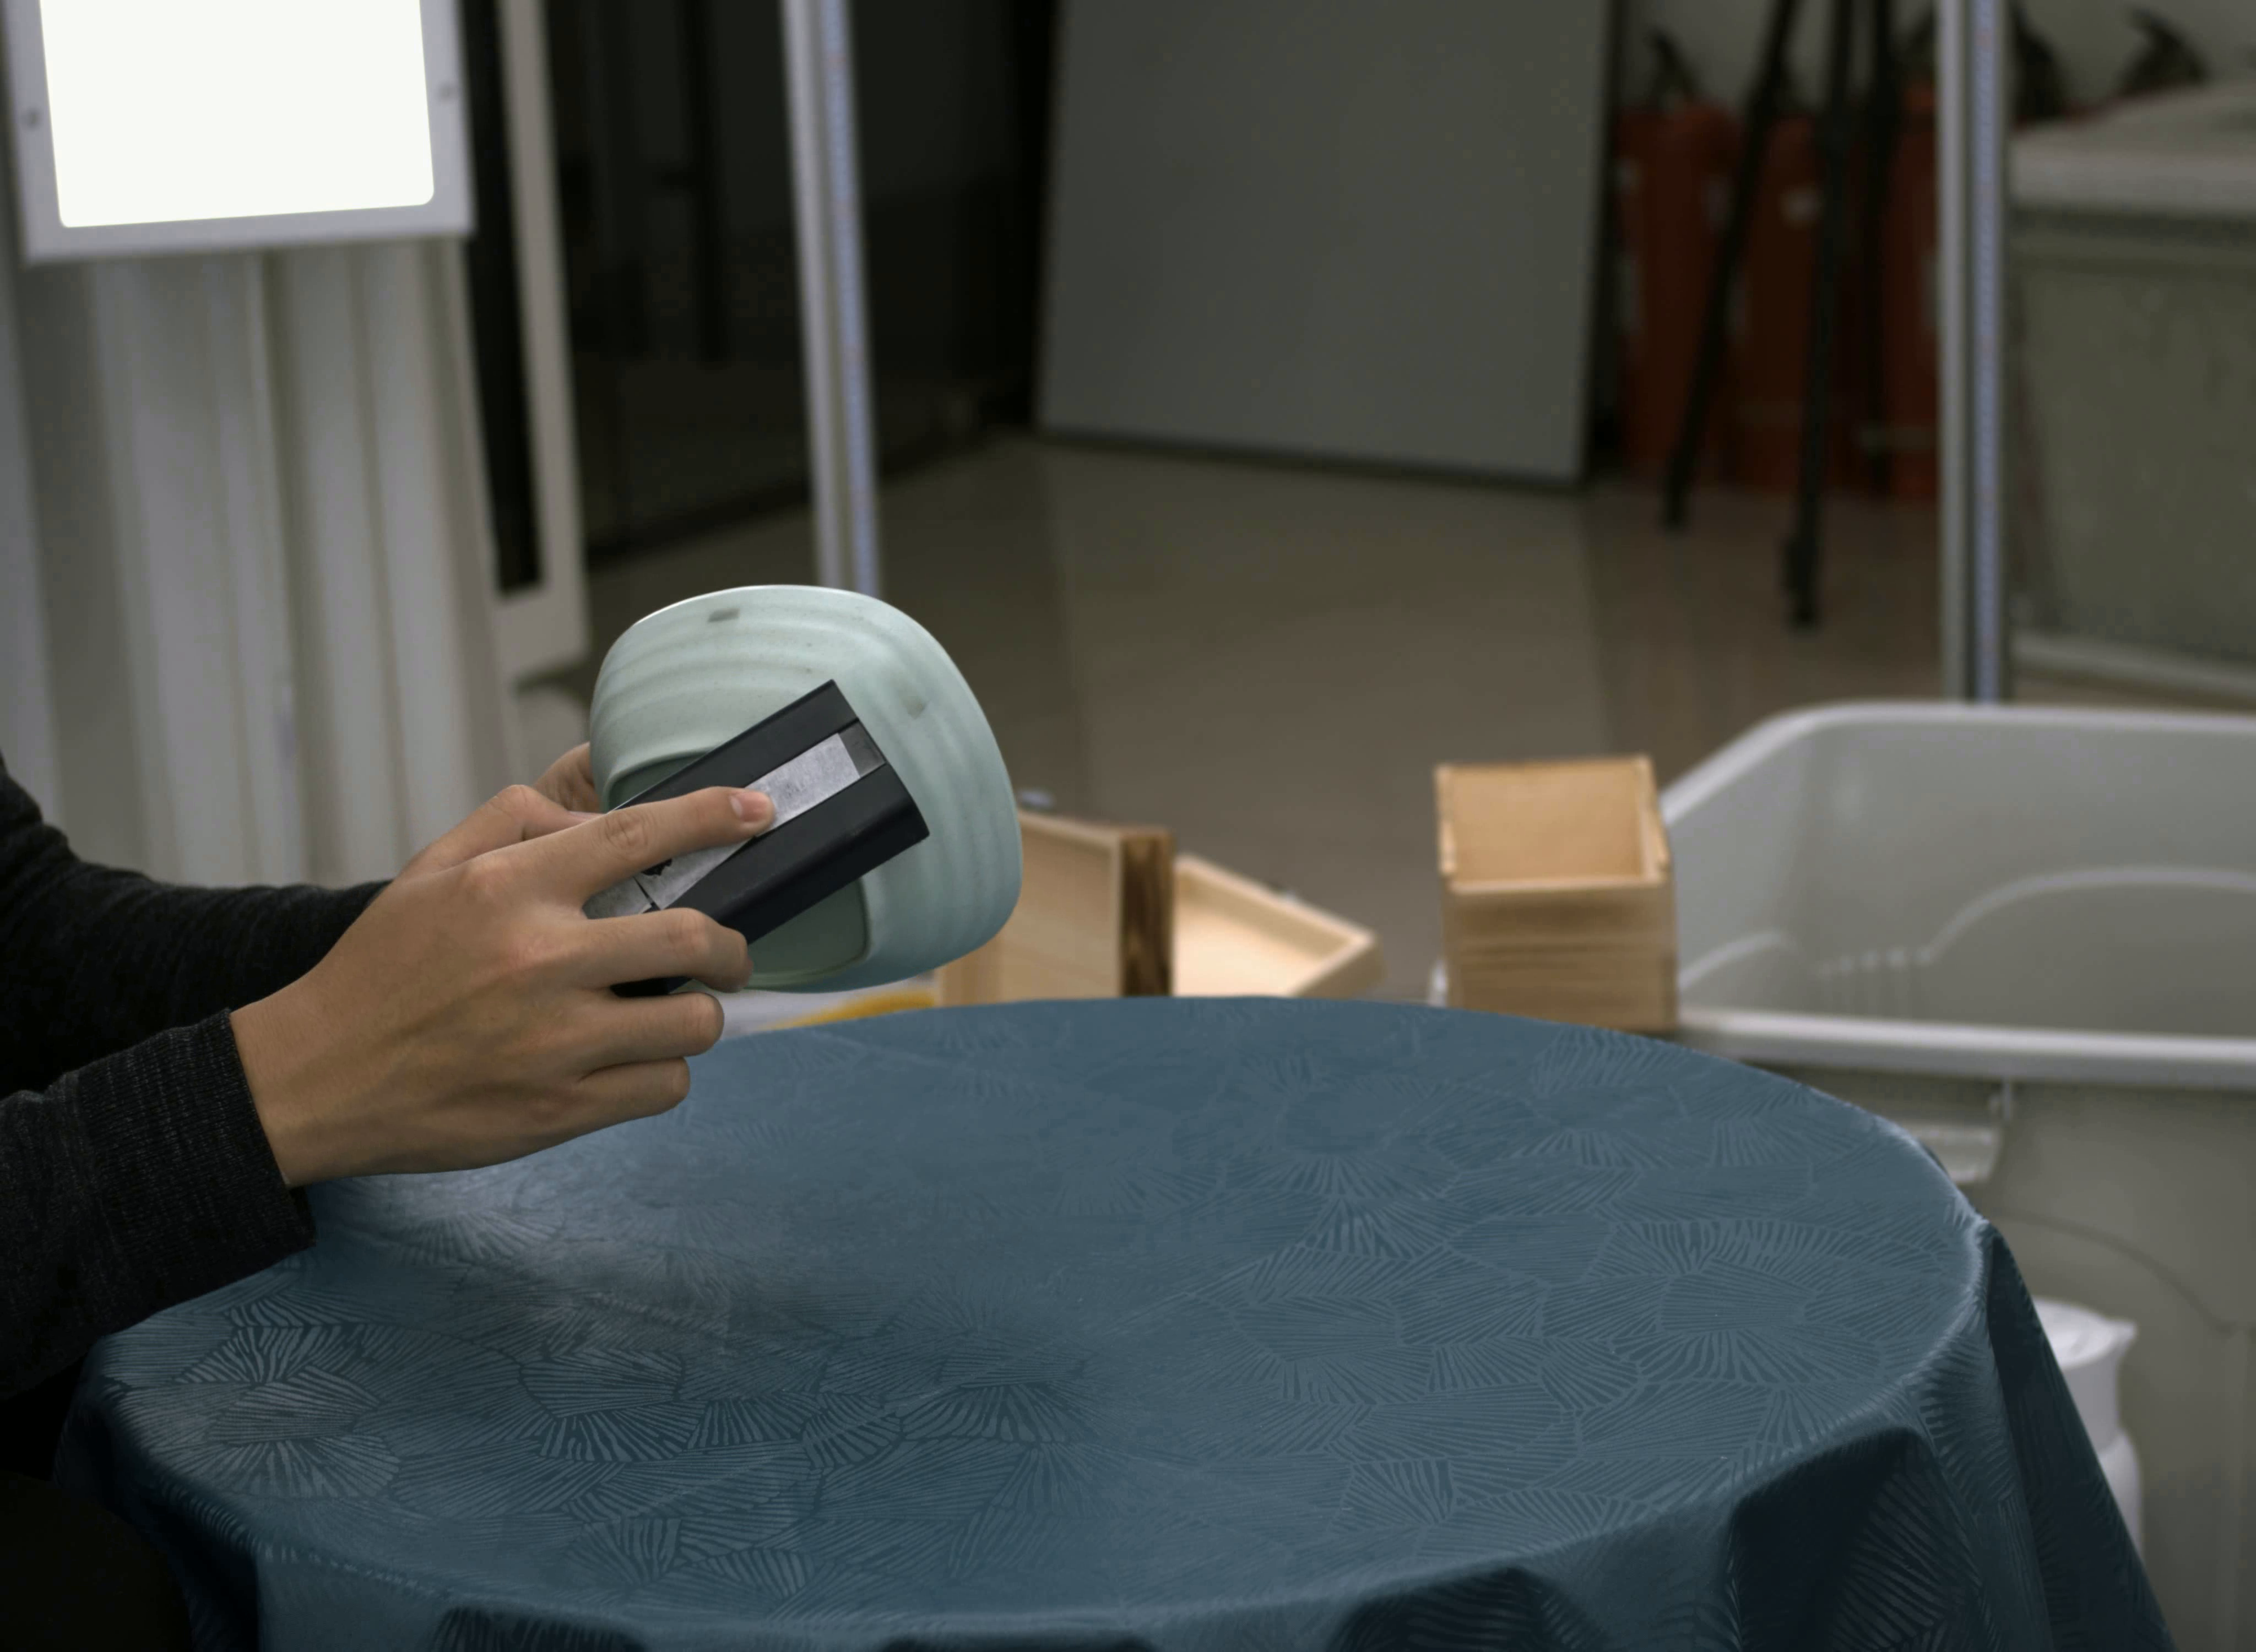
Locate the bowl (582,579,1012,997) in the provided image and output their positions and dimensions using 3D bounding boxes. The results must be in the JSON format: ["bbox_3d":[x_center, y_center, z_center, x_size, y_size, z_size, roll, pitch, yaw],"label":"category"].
[{"bbox_3d":[-0.111,0.000,1.659,0.152,0.152,0.058,3,30,26],"label":"bowl"}]

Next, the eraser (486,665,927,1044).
[{"bbox_3d":[-0.122,0.007,1.583,0.124,0.054,0.030,-34,-23,-9],"label":"eraser"}]
